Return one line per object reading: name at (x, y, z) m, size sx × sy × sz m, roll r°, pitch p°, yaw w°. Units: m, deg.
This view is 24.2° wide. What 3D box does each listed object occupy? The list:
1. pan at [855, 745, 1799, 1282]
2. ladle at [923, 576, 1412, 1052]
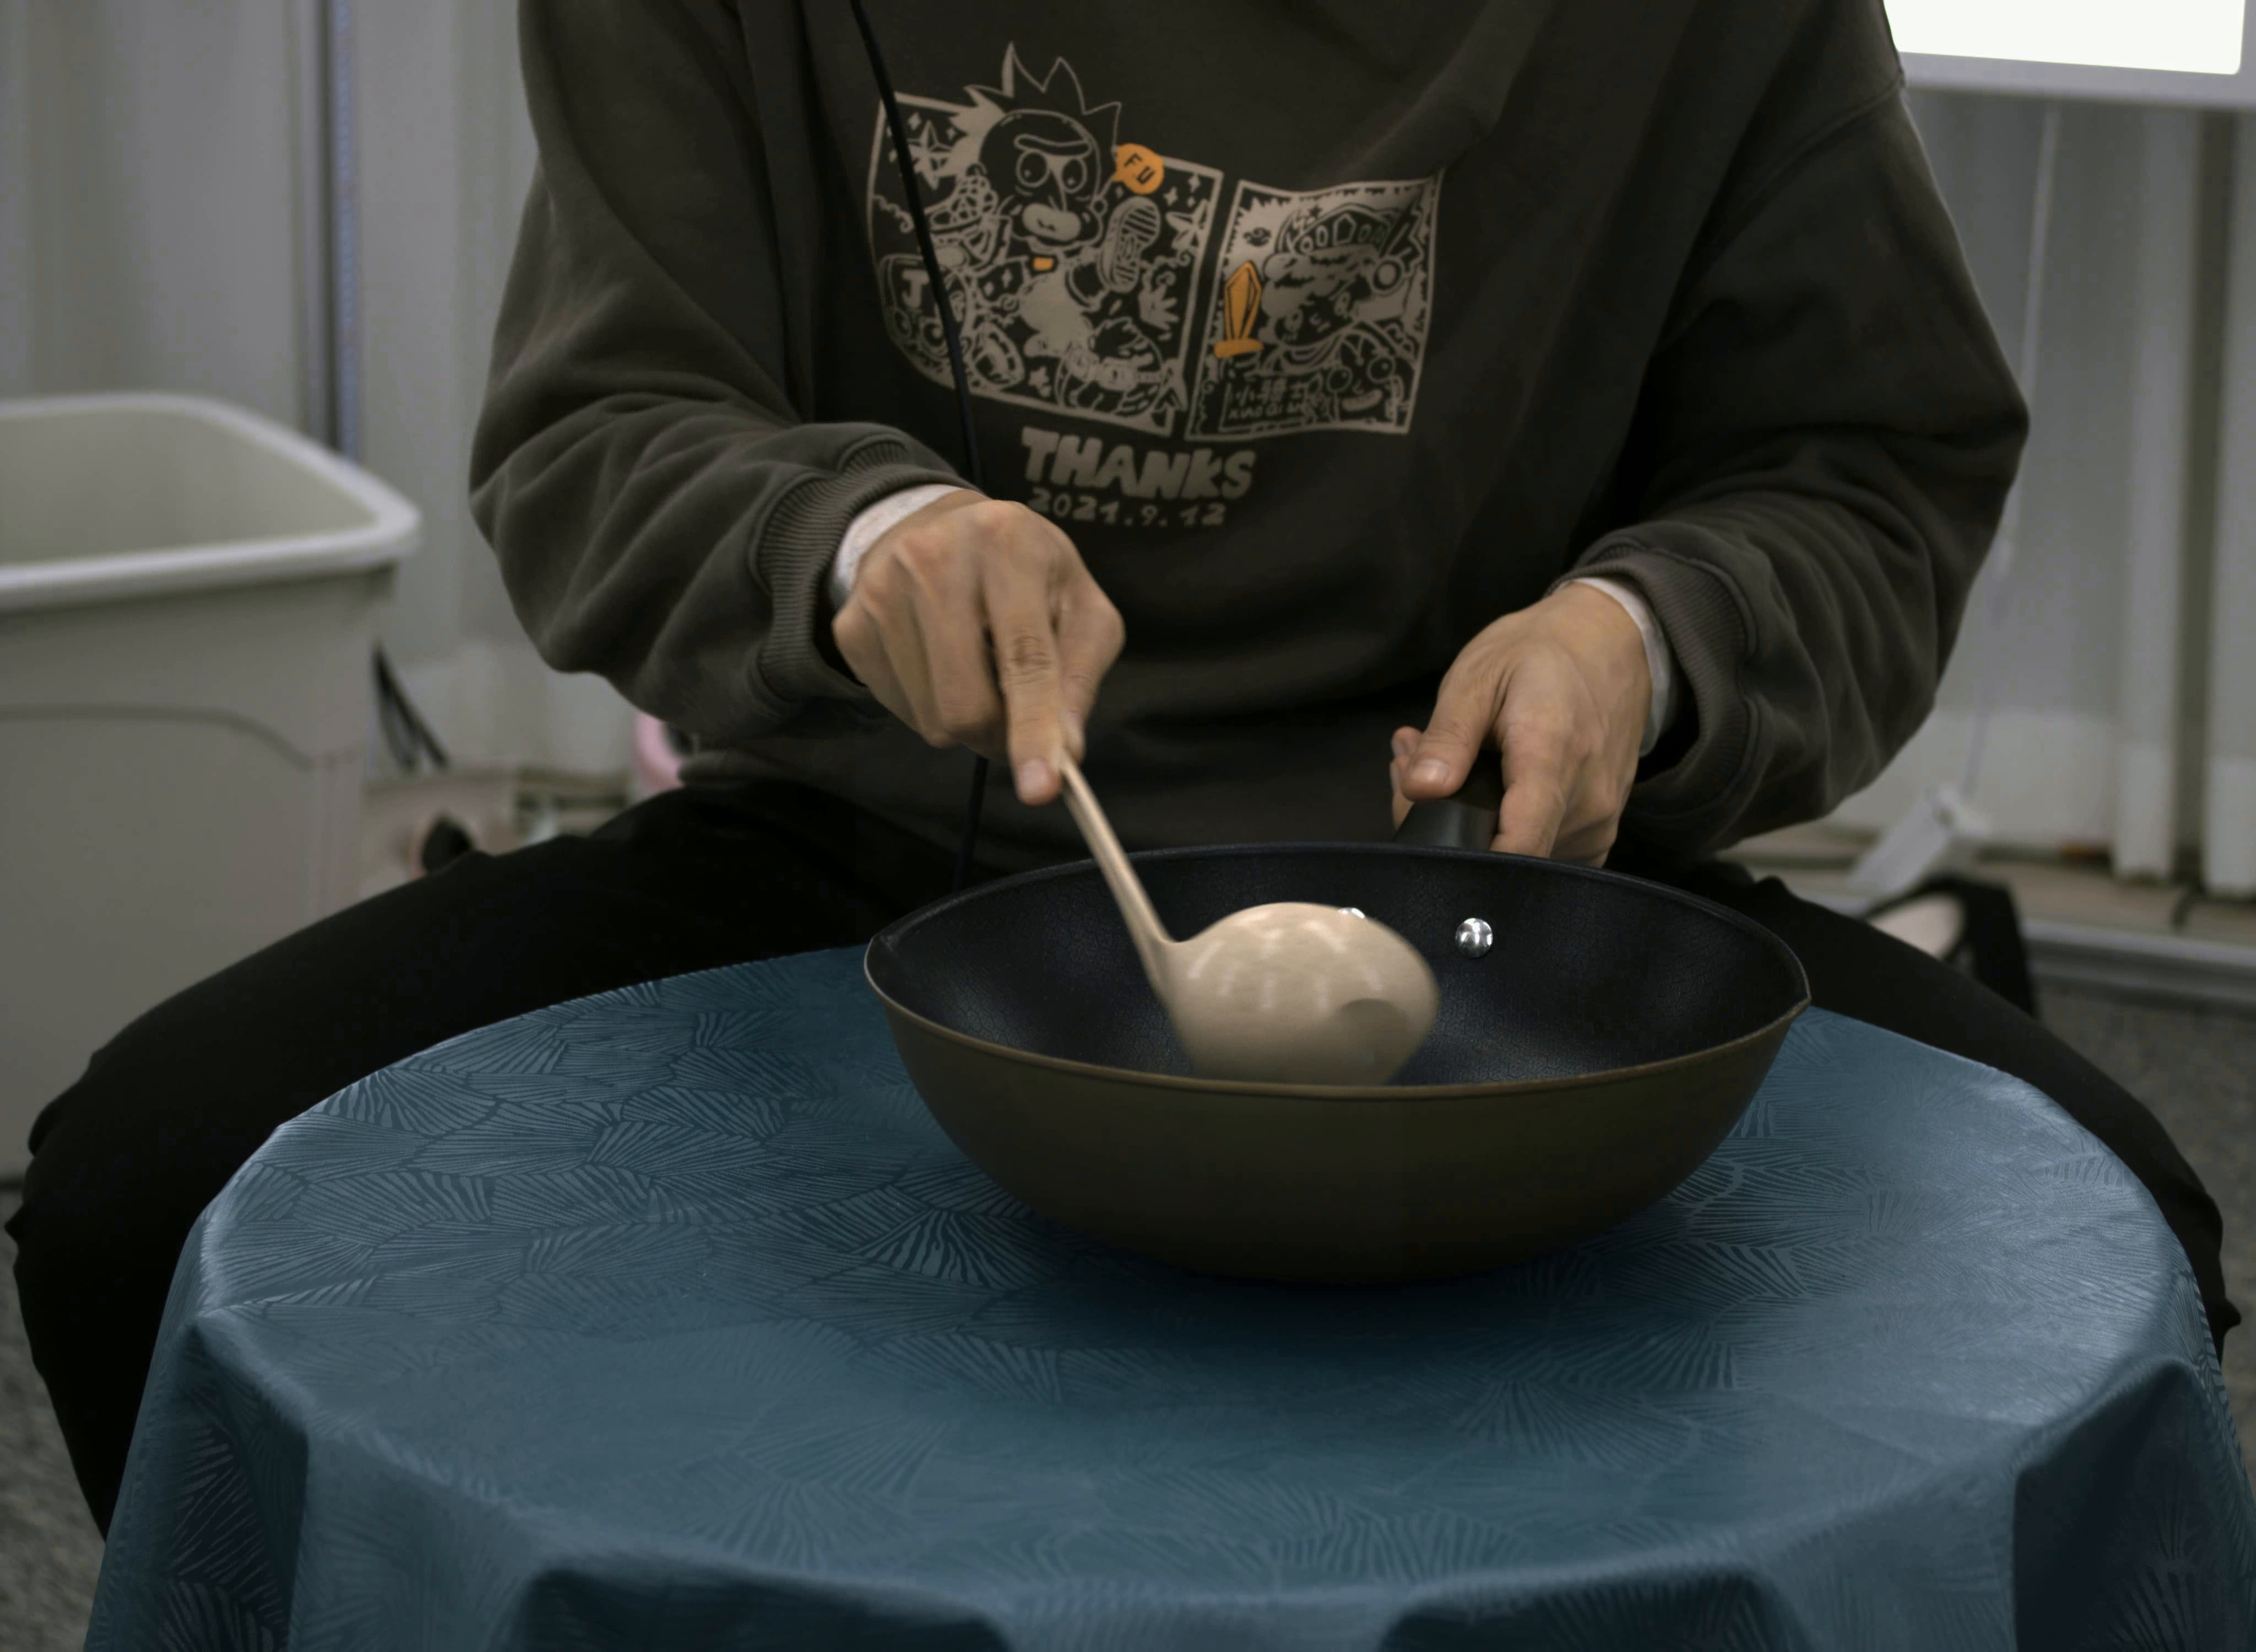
pan at (0.081, 0.056, 1.684) m, size 0.286 × 0.087 × 0.463 m, roll 4°, pitch 14°, yaw 13°
ladle at (0.011, -0.009, 1.612) m, size 0.073 × 0.073 × 0.251 m, roll -18°, pitch 45°, yaw -10°
